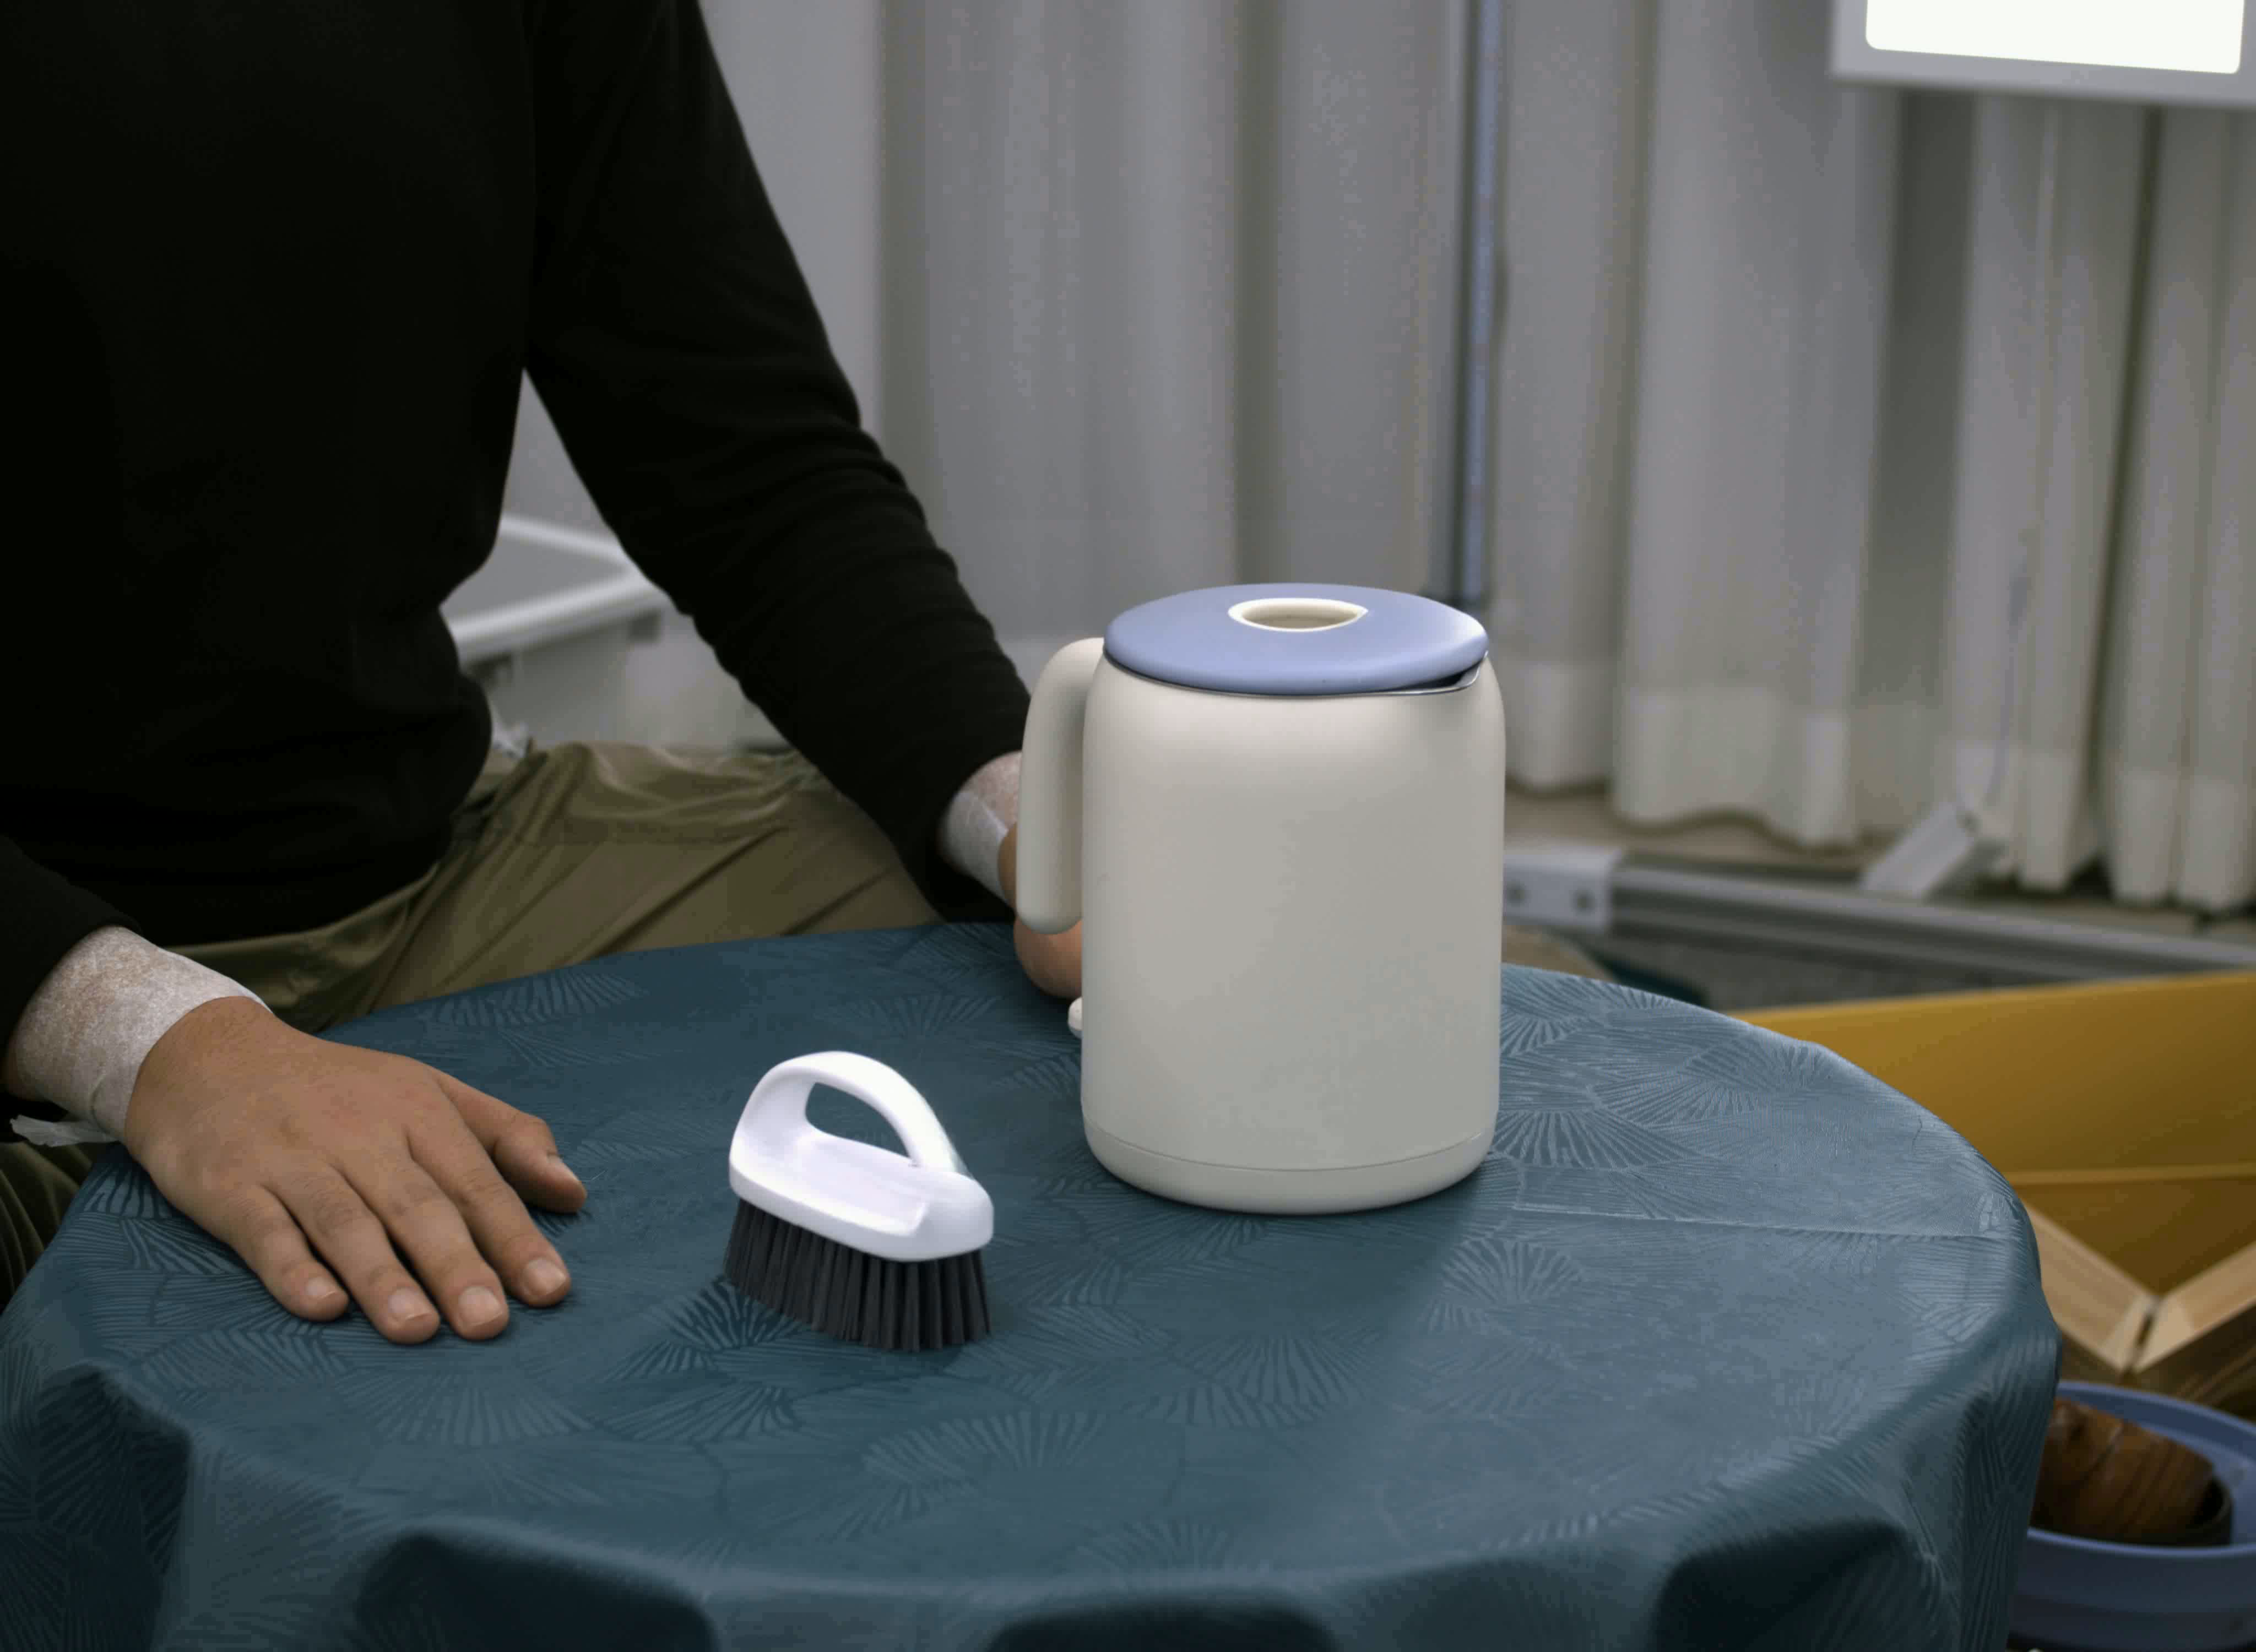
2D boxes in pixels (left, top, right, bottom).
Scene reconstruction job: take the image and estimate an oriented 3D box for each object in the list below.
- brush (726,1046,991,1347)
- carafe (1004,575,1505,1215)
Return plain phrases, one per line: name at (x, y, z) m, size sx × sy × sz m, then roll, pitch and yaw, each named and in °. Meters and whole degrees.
brush at (-0.079, 0.102, 1.518) m, size 0.050 × 0.073 × 0.098 m, roll -12°, pitch 20°, yaw -36°
carafe at (0.033, 0.016, 1.648) m, size 0.188 × 0.184 × 0.133 m, roll 13°, pitch 20°, yaw 41°
